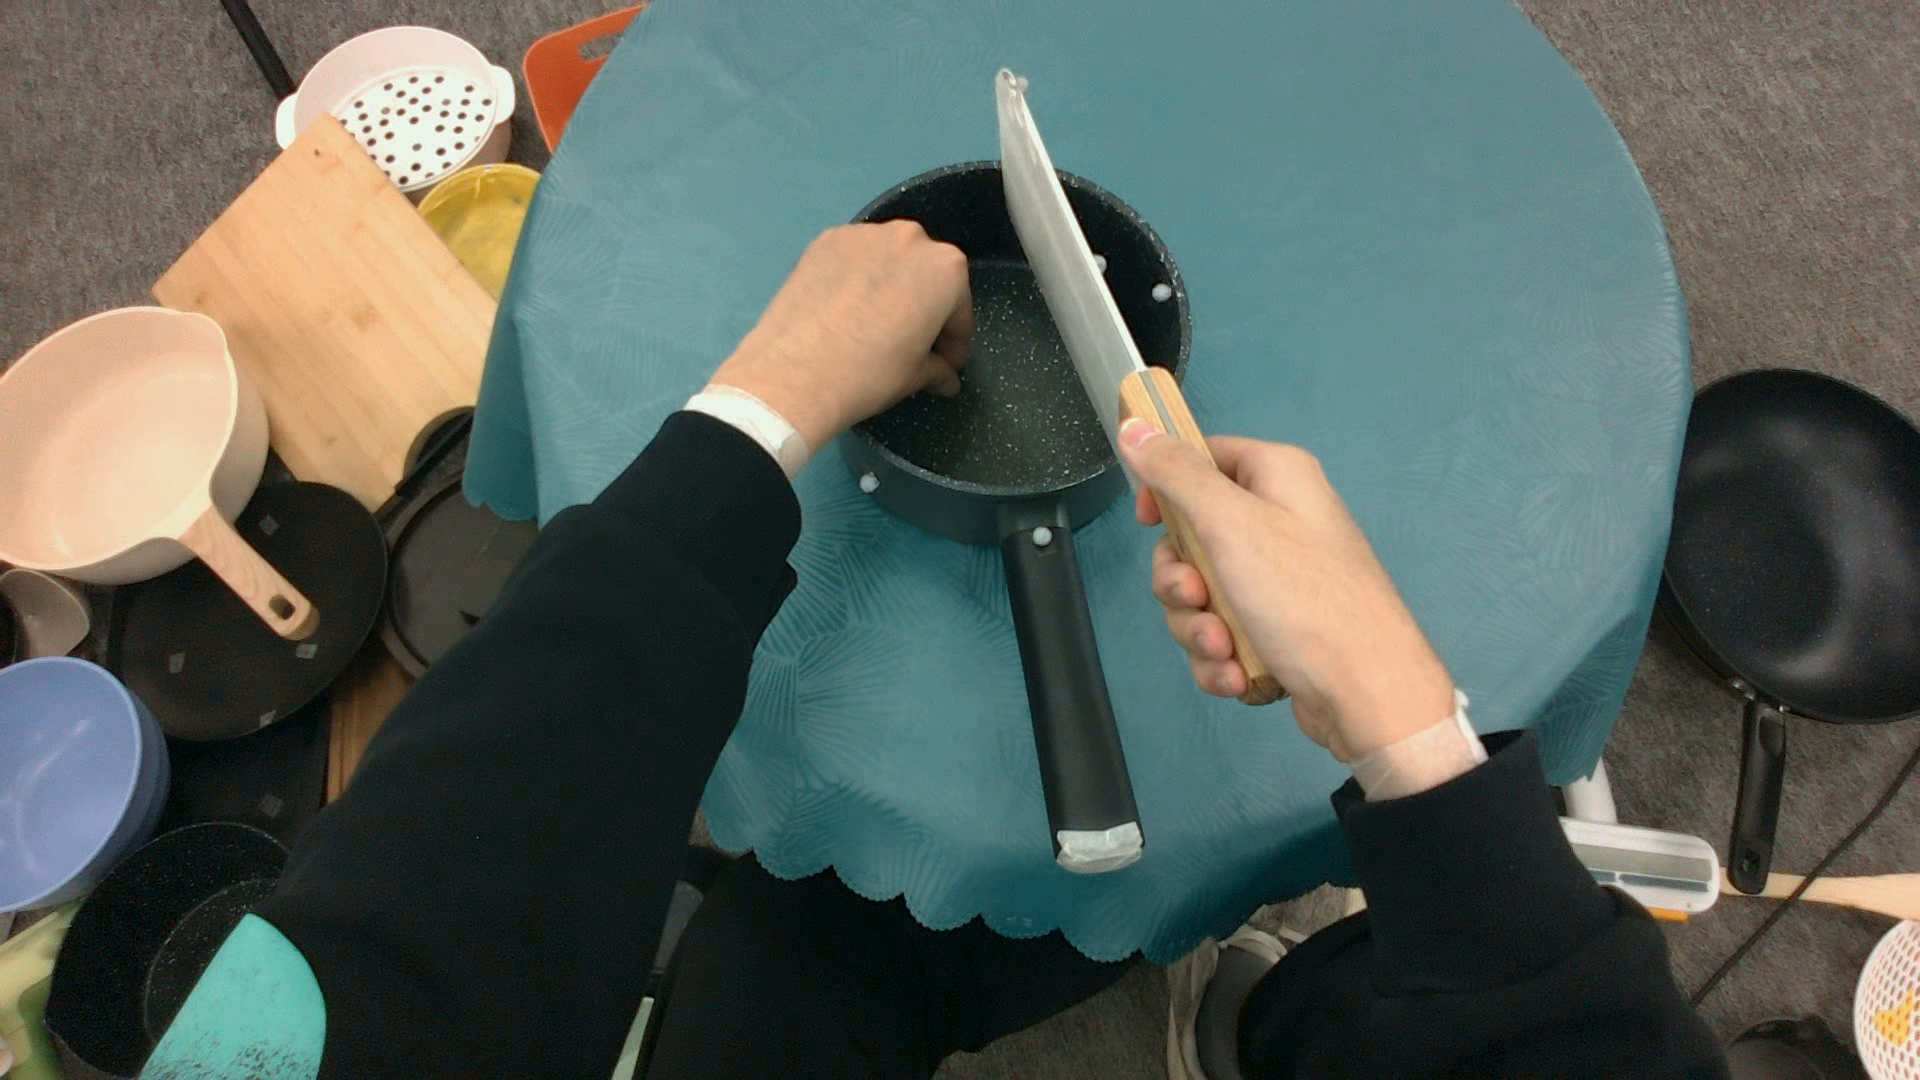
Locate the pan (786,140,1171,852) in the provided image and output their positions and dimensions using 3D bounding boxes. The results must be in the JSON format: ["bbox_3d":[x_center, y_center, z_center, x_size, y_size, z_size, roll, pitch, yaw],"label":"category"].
[{"bbox_3d":[0.018,-0.022,0.615,0.172,0.086,0.329,-6,68,-2],"label":"pan"}]

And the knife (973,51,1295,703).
[{"bbox_3d":[0.054,-0.072,0.543,0.022,0.113,0.316,-18,55,-5],"label":"knife"}]
